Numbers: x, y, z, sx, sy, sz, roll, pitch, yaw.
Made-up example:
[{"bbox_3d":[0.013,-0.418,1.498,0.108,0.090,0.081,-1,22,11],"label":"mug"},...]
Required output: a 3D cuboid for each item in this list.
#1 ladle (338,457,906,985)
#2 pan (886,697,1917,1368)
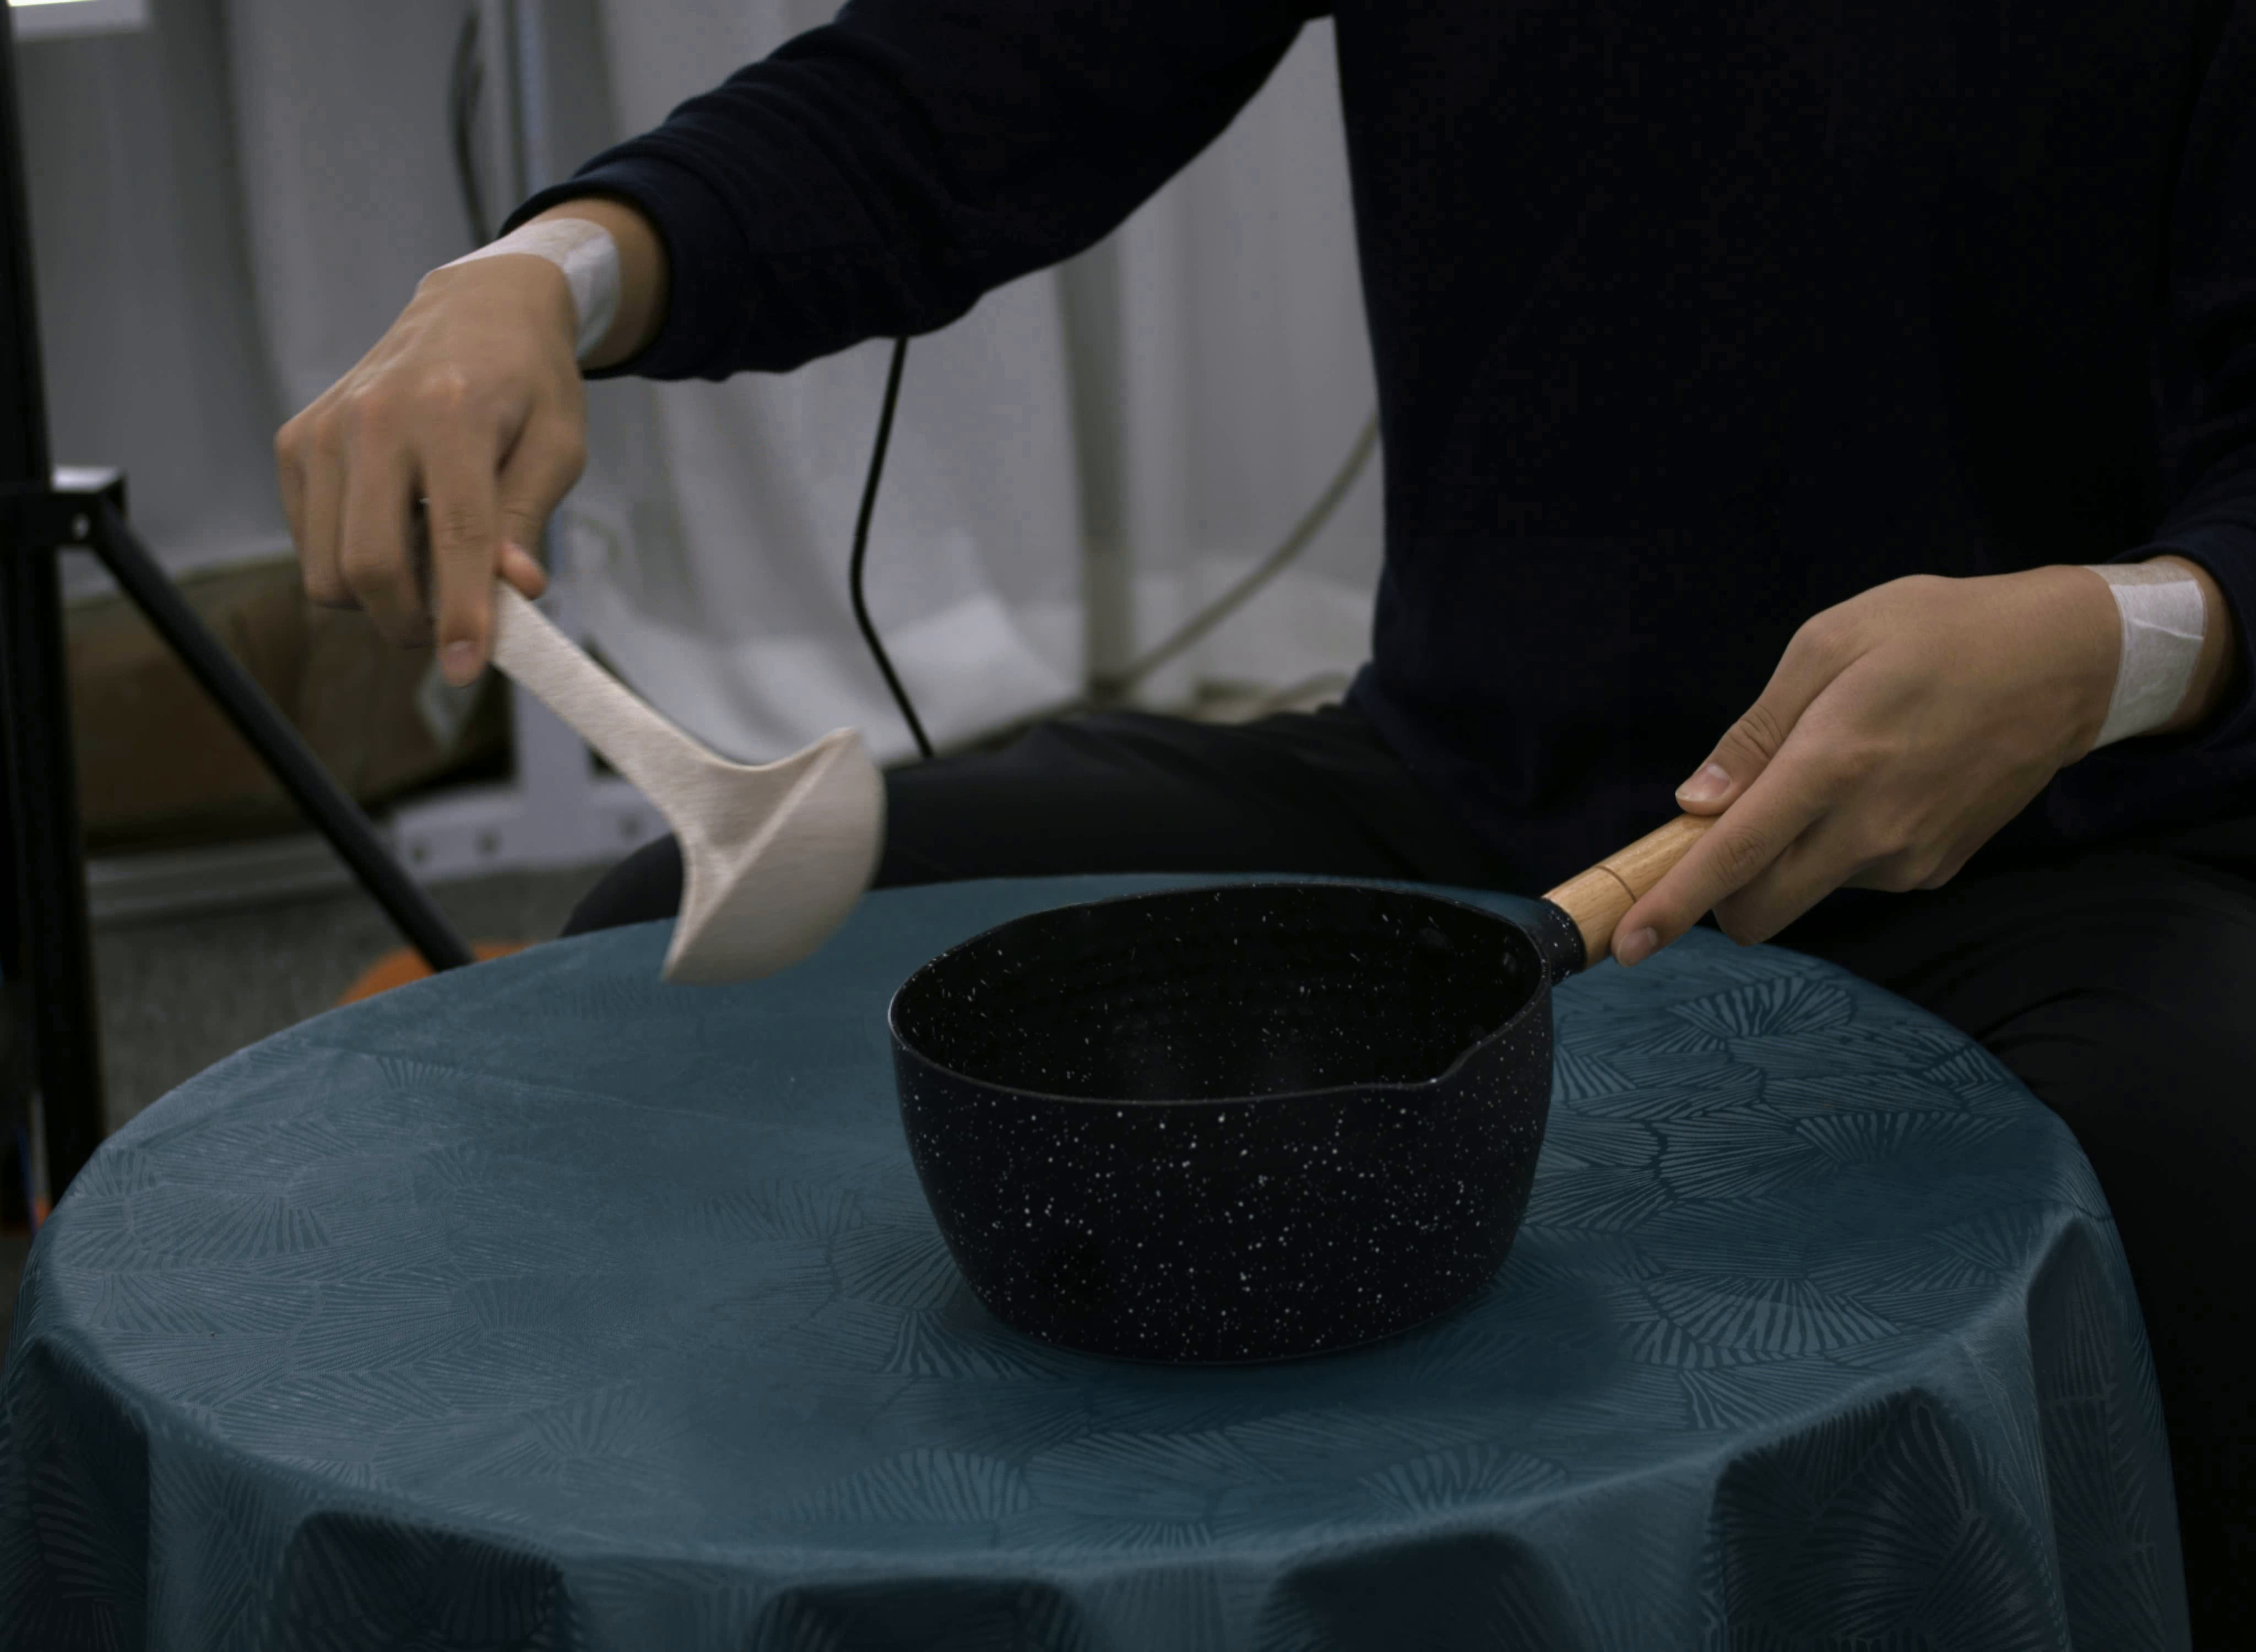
[{"bbox_3d":[-0.165,-0.048,1.532,0.281,0.089,0.067,38,6,36],"label":"ladle"},{"bbox_3d":[0.092,0.054,1.511,0.335,0.108,0.212,-17,20,-30],"label":"pan"}]
